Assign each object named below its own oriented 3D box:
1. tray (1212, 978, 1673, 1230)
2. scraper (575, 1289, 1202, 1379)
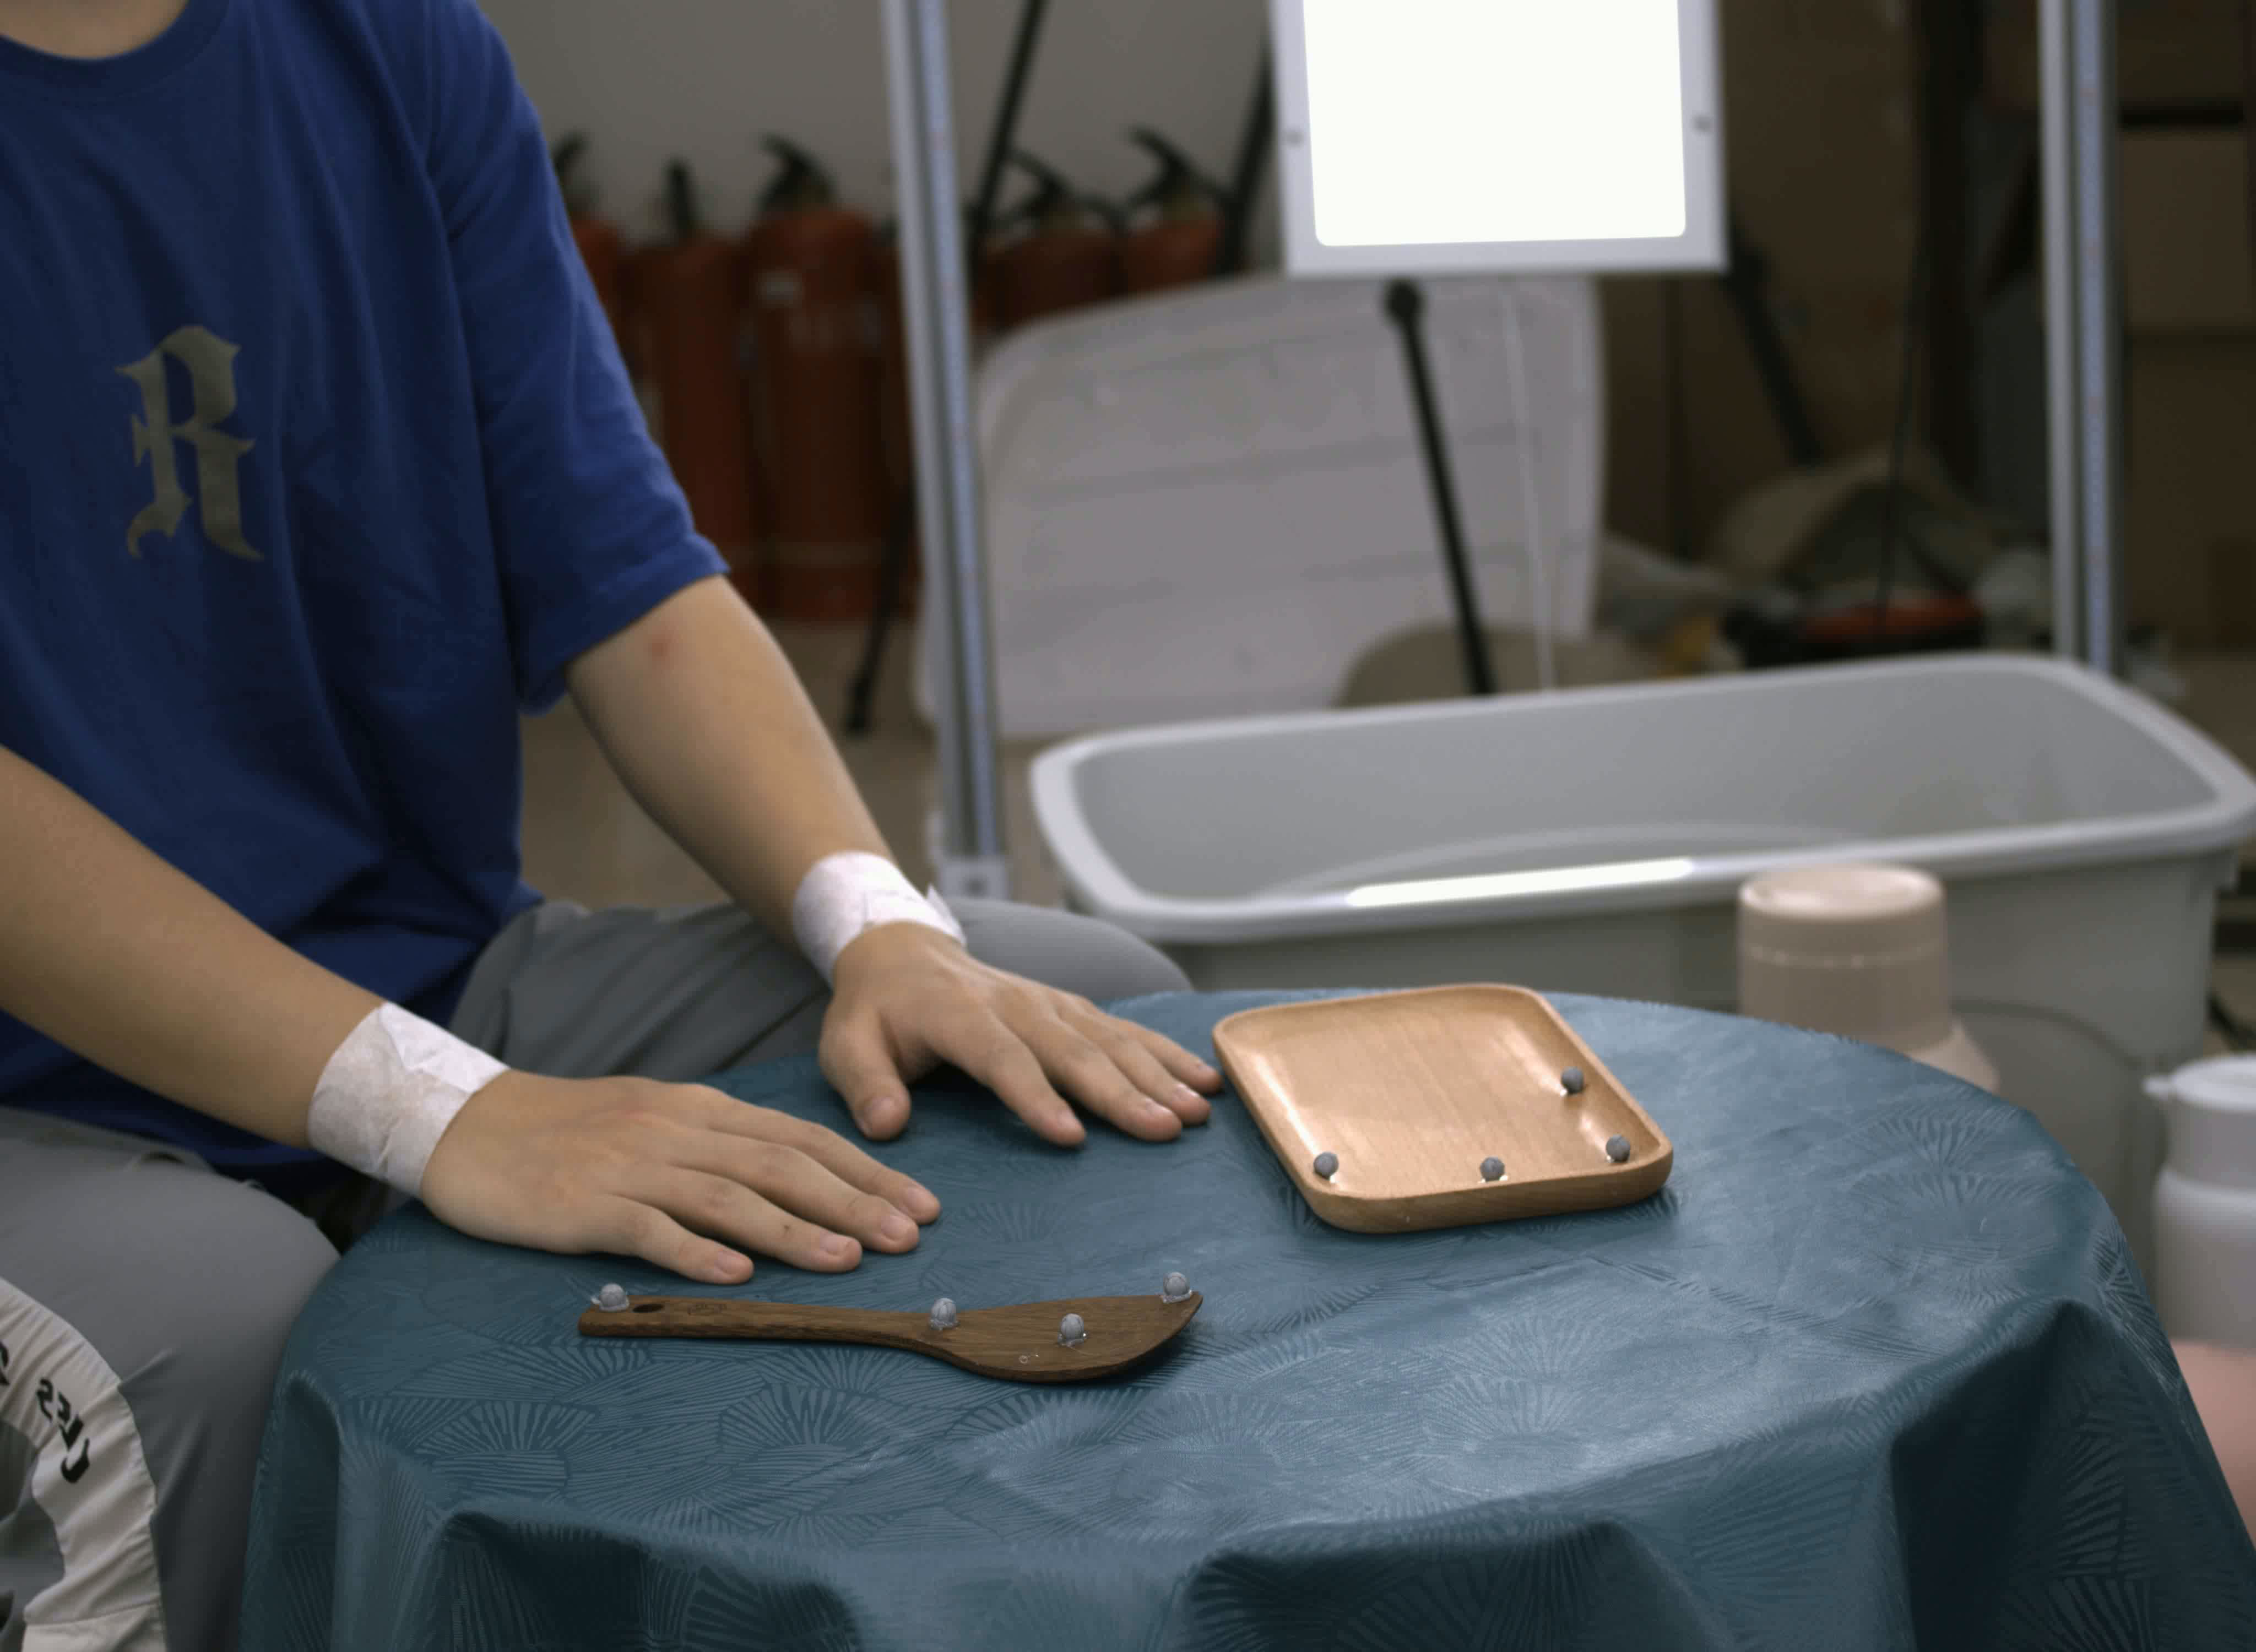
[{"bbox_3d":[0.108,0.096,1.945,0.129,0.023,0.251,-4,13,-6],"label":"tray"},{"bbox_3d":[-0.081,0.160,1.770,0.214,0.011,0.074,0,14,24],"label":"scraper"}]
